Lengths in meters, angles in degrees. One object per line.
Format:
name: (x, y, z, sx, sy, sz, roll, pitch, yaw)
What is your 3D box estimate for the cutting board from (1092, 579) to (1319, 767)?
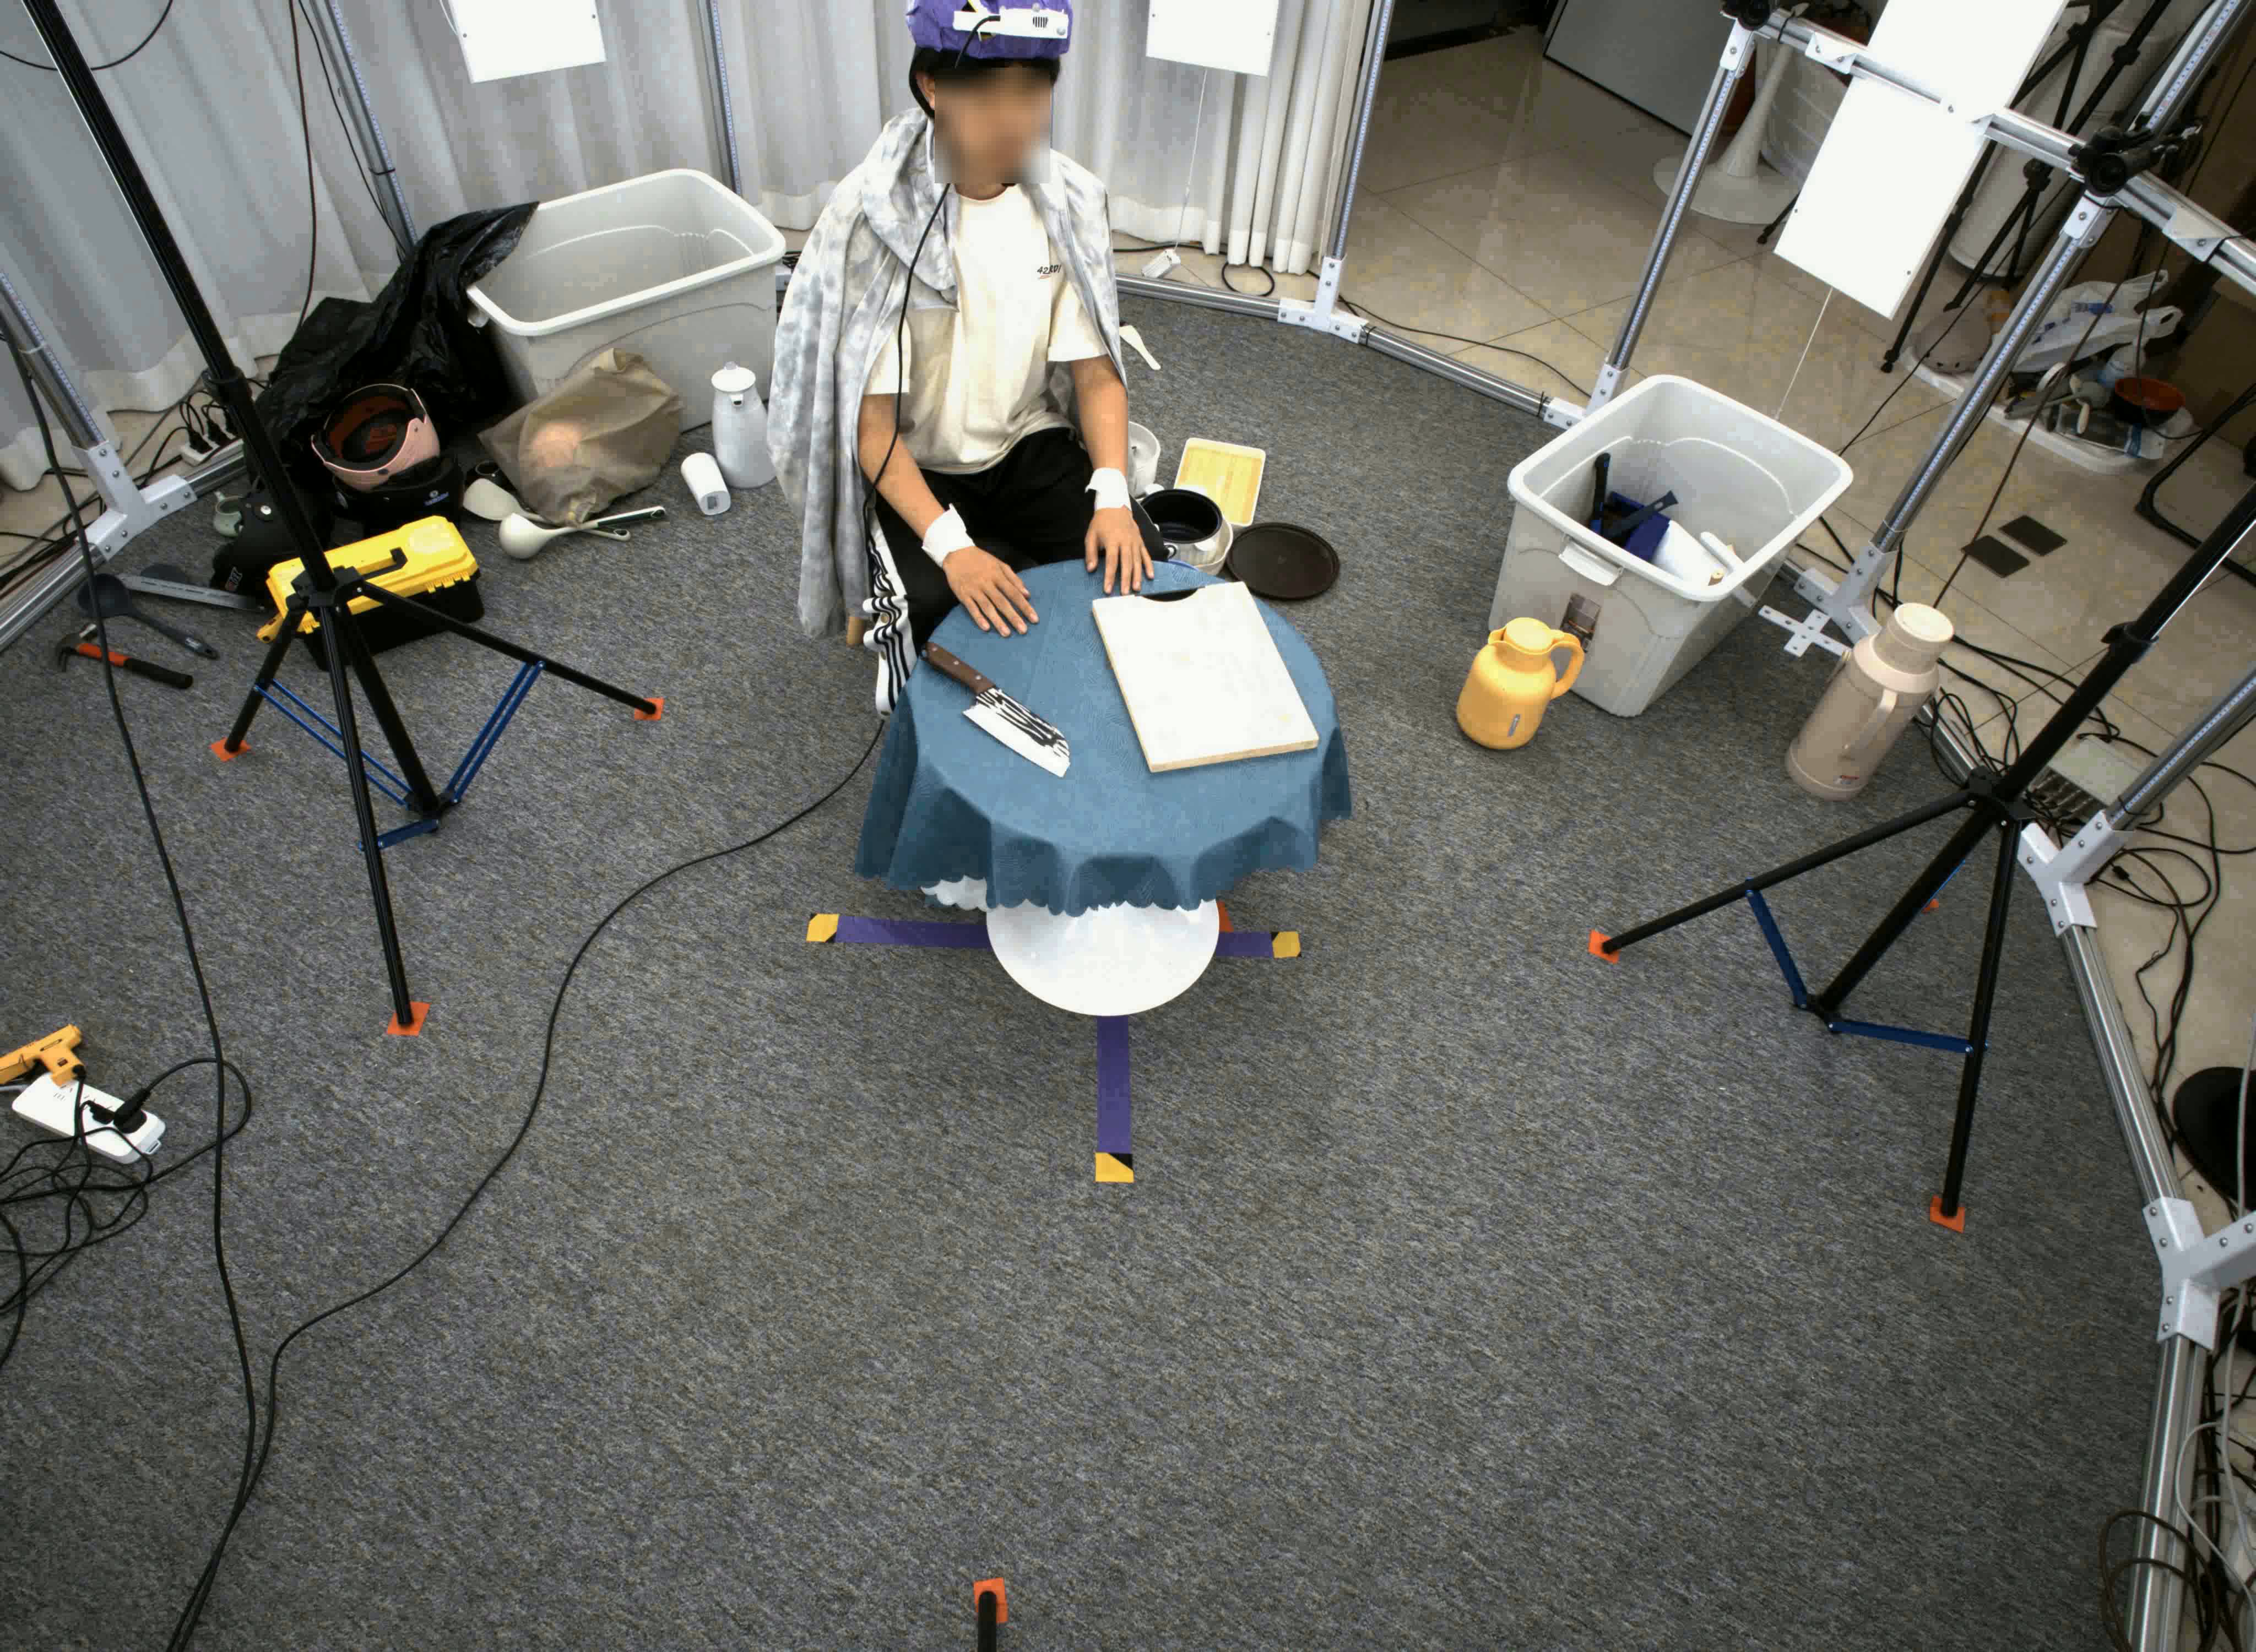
cutting board: (0.104, -0.228, 1.856, 0.250, 0.023, 0.357, -10, 50, -12)

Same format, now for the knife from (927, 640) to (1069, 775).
knife: (-0.187, -0.165, 1.779, 0.303, 0.023, 0.069, 37, 58, 22)
